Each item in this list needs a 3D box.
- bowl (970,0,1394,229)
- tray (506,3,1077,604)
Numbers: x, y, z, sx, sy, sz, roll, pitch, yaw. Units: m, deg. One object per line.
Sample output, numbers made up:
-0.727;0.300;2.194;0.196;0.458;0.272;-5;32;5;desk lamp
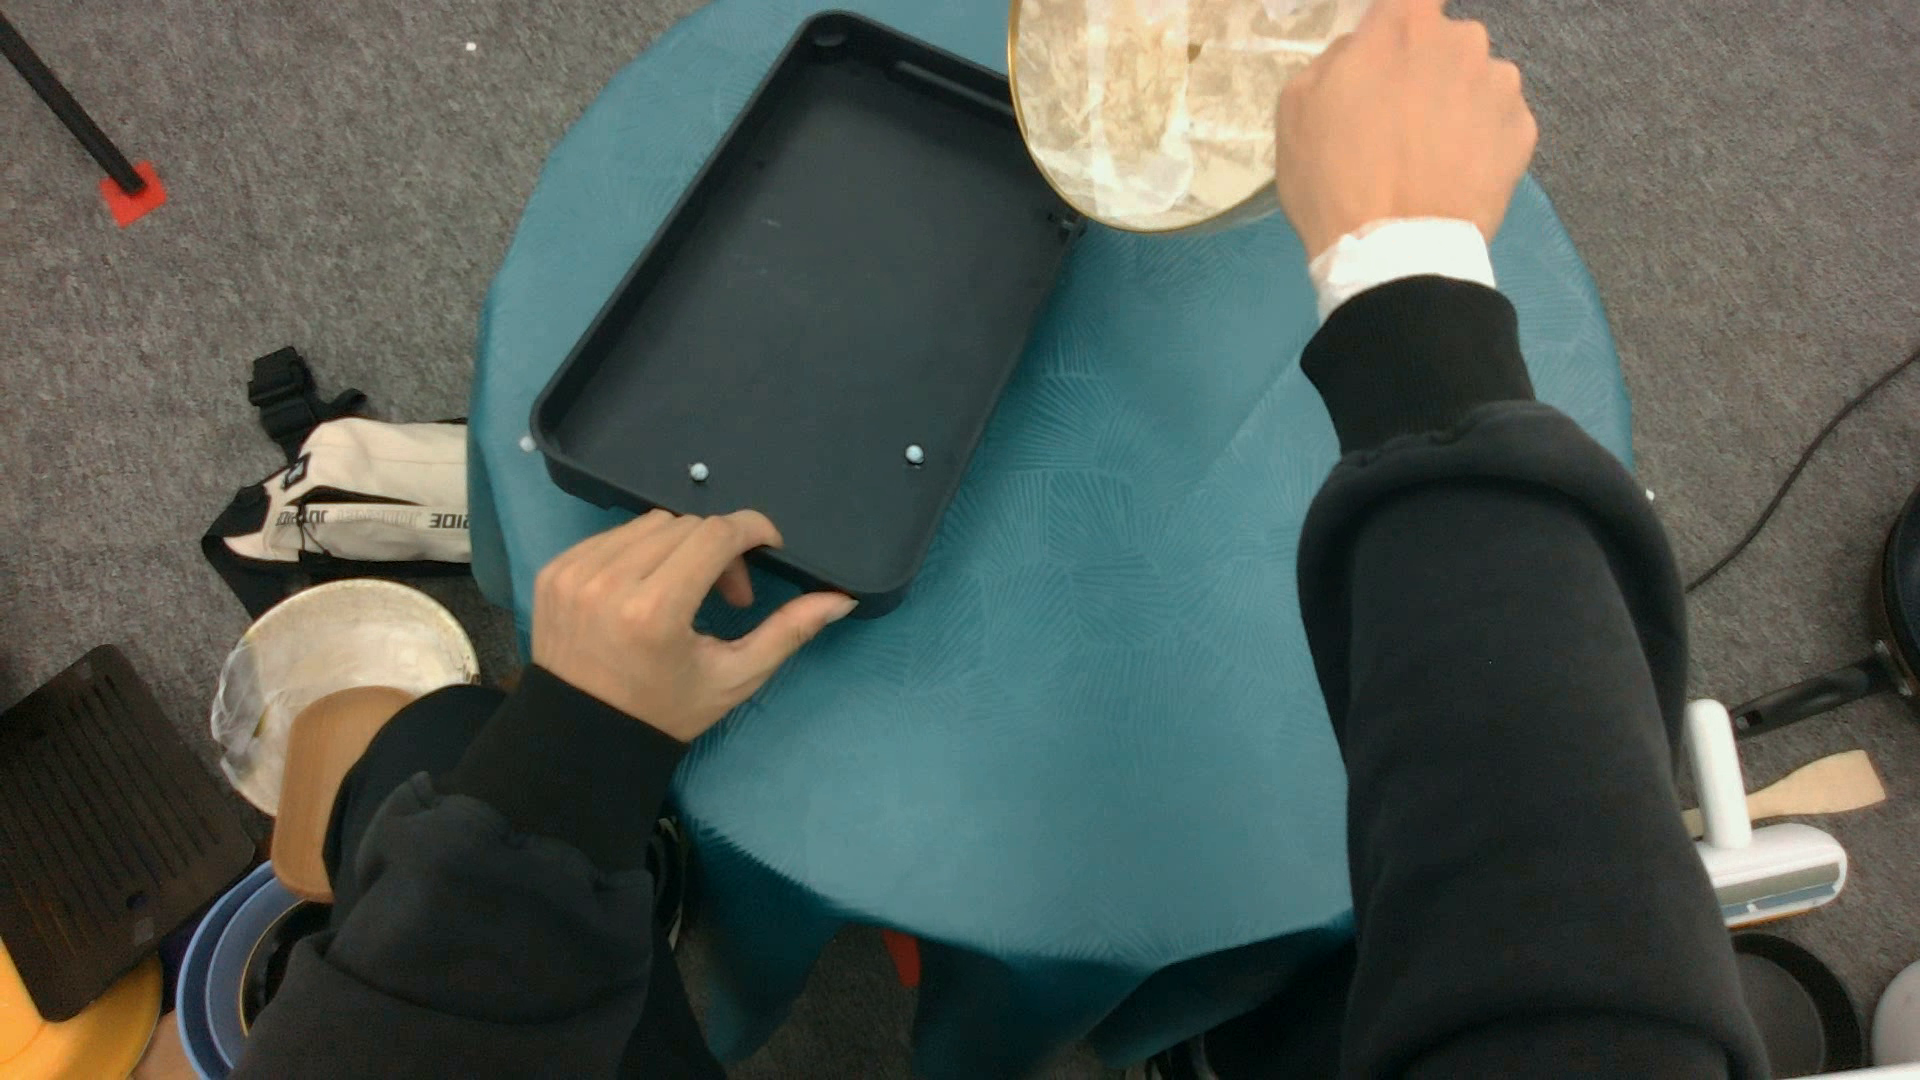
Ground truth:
0.112;-0.236;0.619;0.095;0.213;0.215;-1;63;-47;bowl
-0.062;-0.130;0.678;0.184;0.037;0.319;24;60;3;tray
